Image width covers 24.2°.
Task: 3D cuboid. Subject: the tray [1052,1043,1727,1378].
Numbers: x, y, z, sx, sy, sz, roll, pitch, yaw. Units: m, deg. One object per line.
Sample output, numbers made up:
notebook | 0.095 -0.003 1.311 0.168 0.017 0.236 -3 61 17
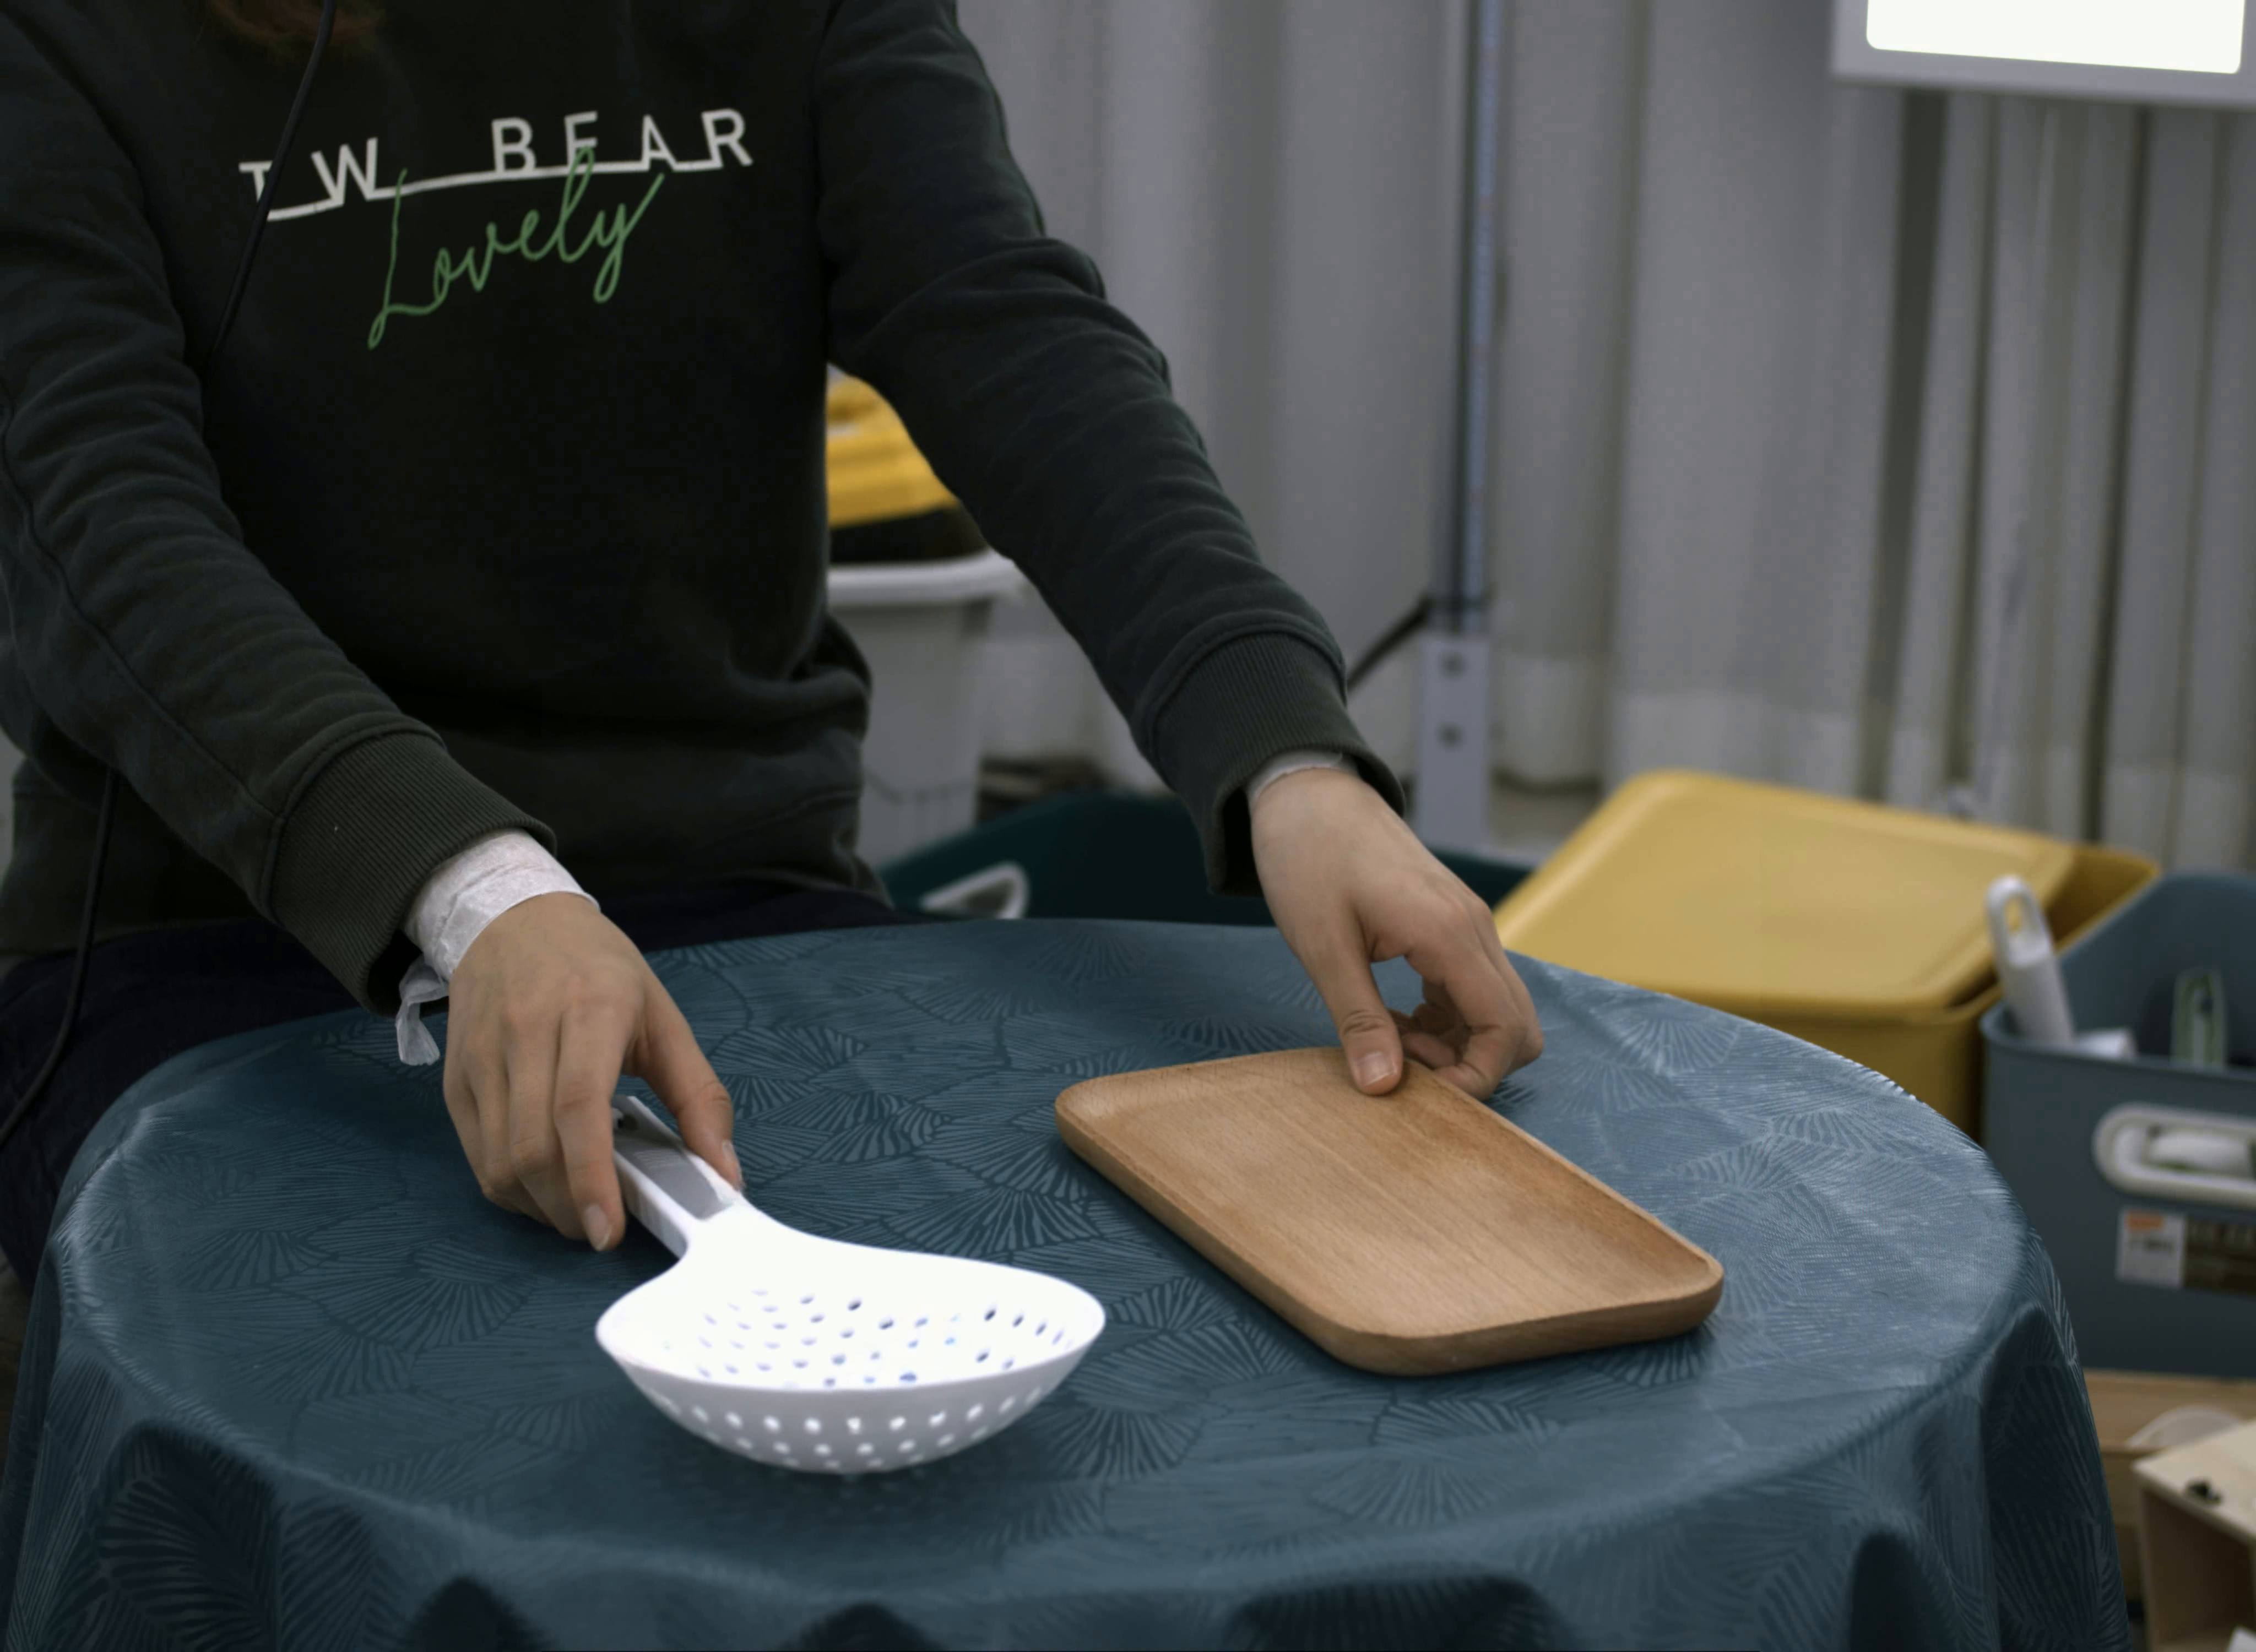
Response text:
tray | 0.074 0.113 1.595 0.131 0.023 0.248 -4 16 -23

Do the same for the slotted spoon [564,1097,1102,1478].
slotted spoon | -0.110 0.122 1.505 0.136 0.046 0.346 -3 15 -19
